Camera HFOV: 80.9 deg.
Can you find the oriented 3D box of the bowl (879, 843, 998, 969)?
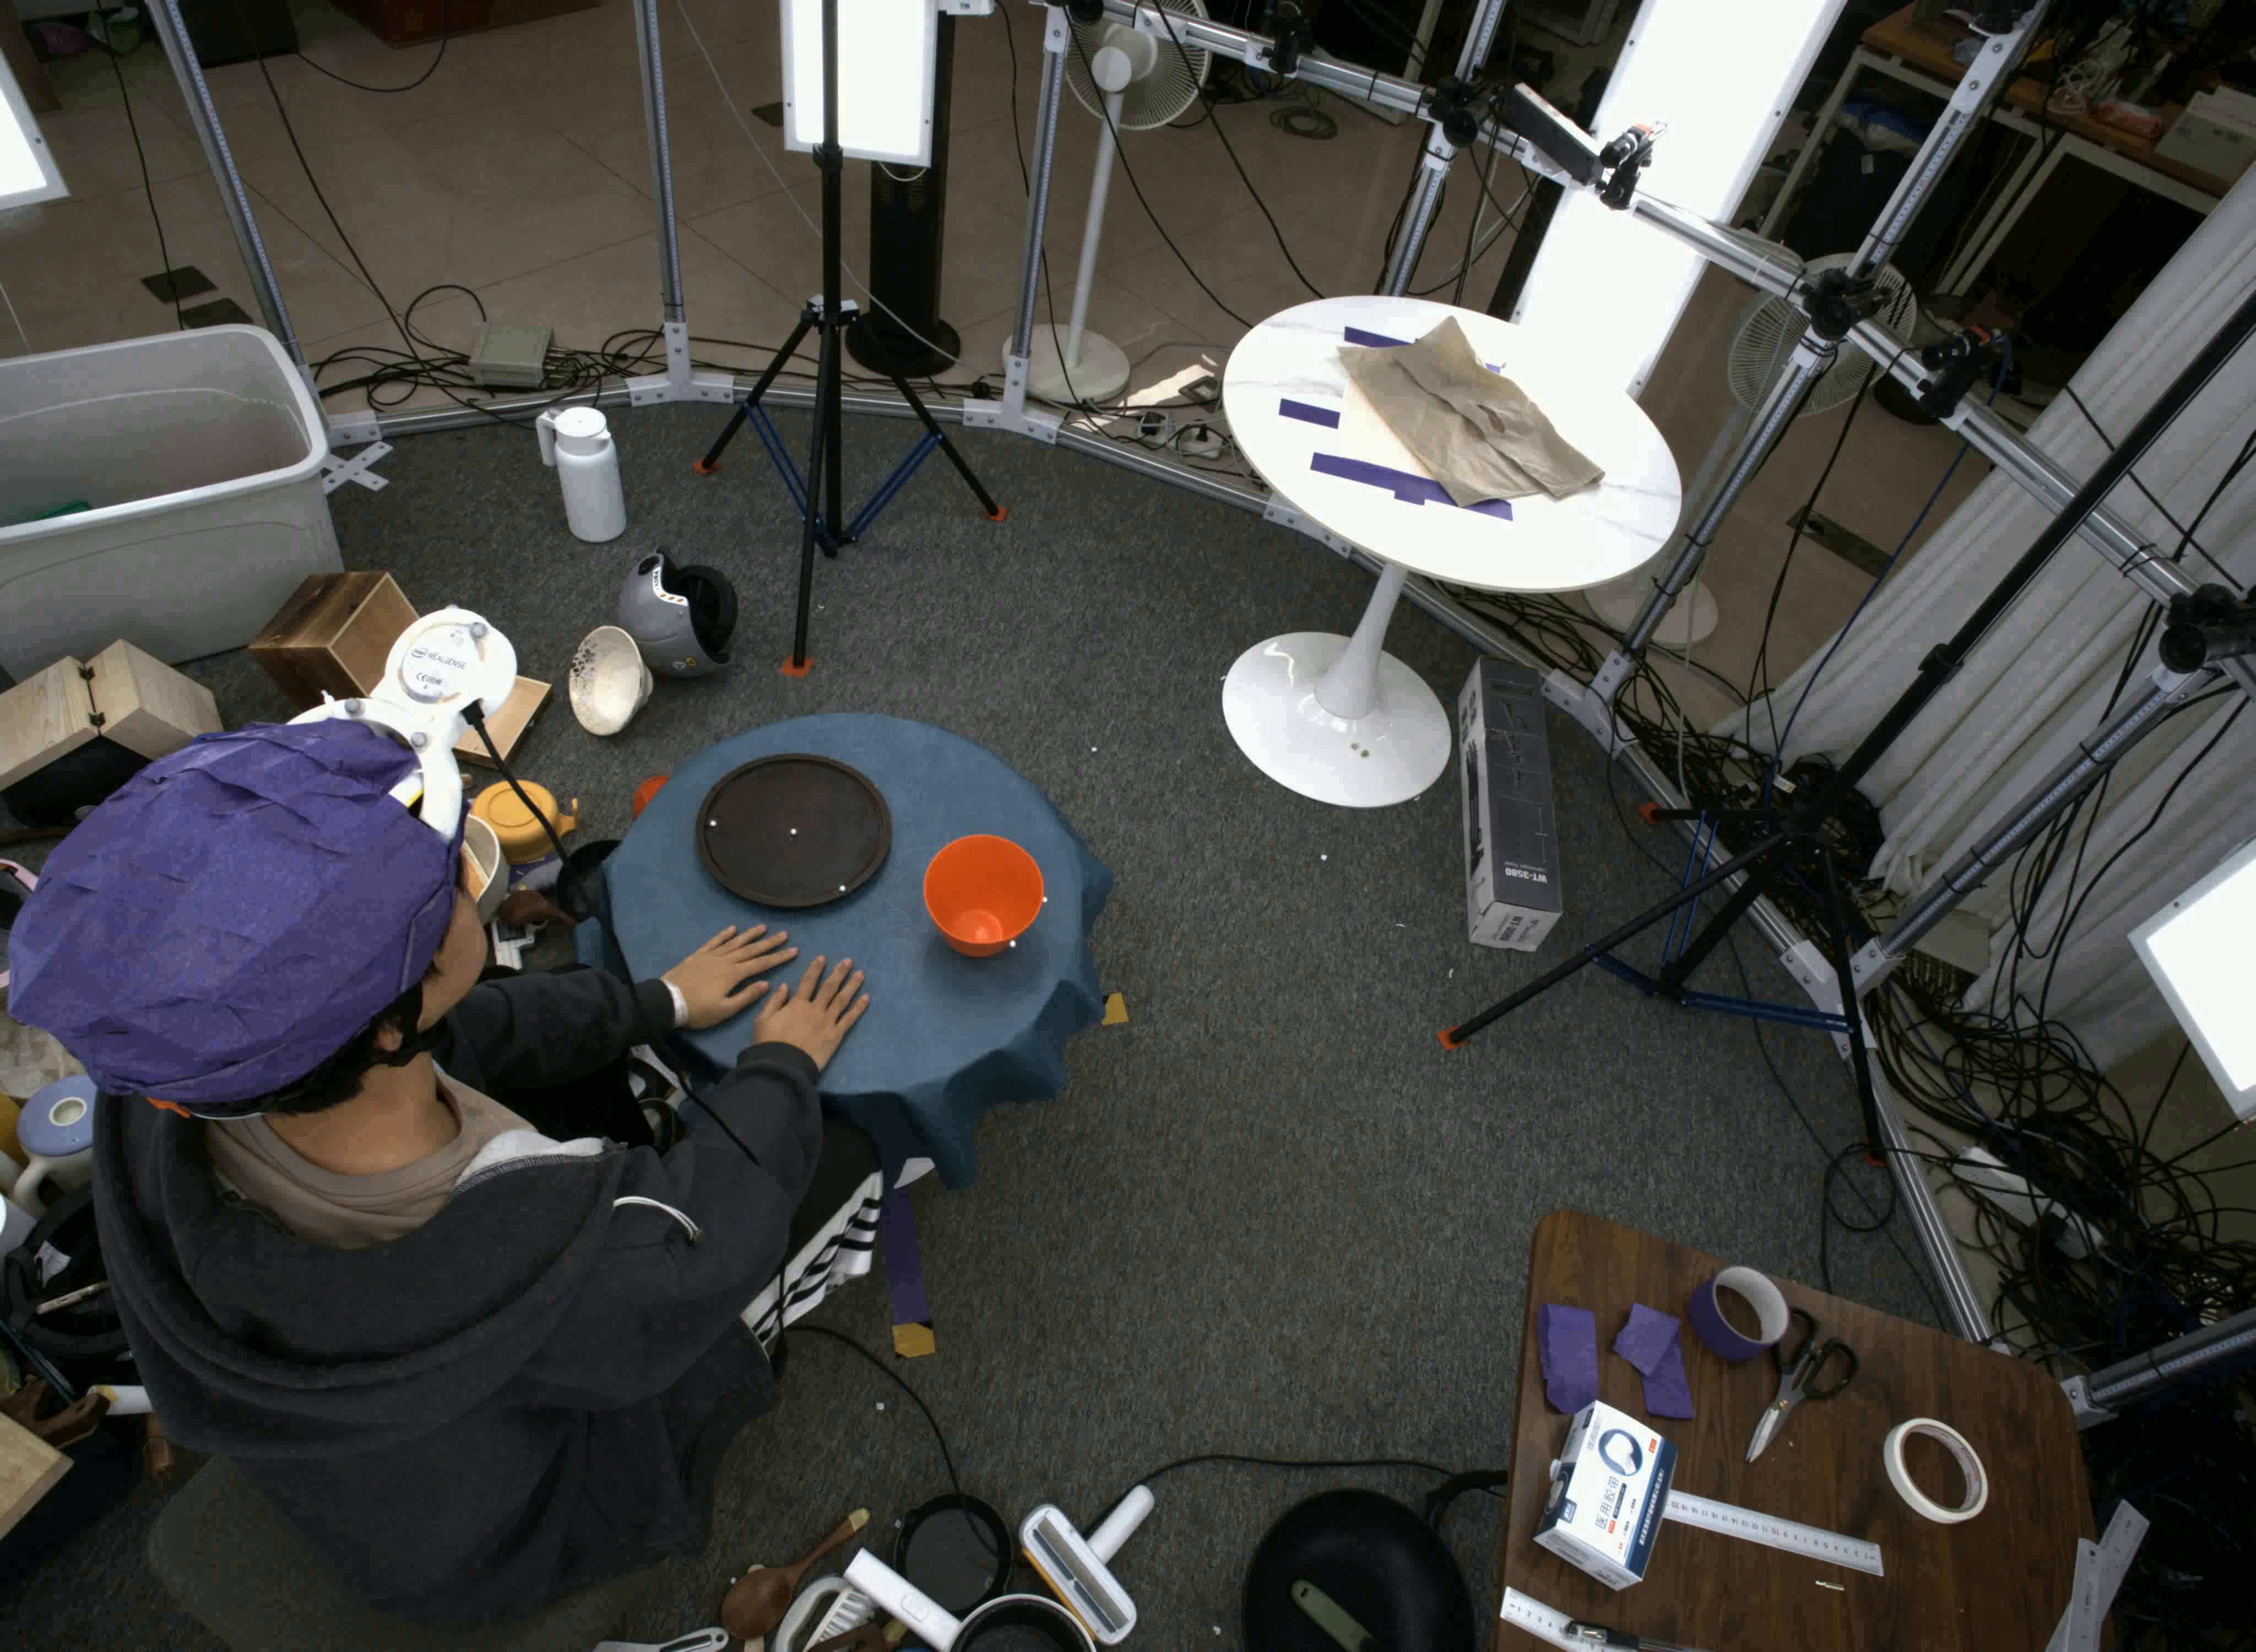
[{"bbox_3d":[-0.240,0.111,1.628,0.148,0.106,0.145,9,51,-10],"label":"bowl"}]

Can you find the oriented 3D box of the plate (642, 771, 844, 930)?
[{"bbox_3d":[-0.496,0.028,1.674,0.254,0.029,0.250,9,53,-10],"label":"plate"}]
